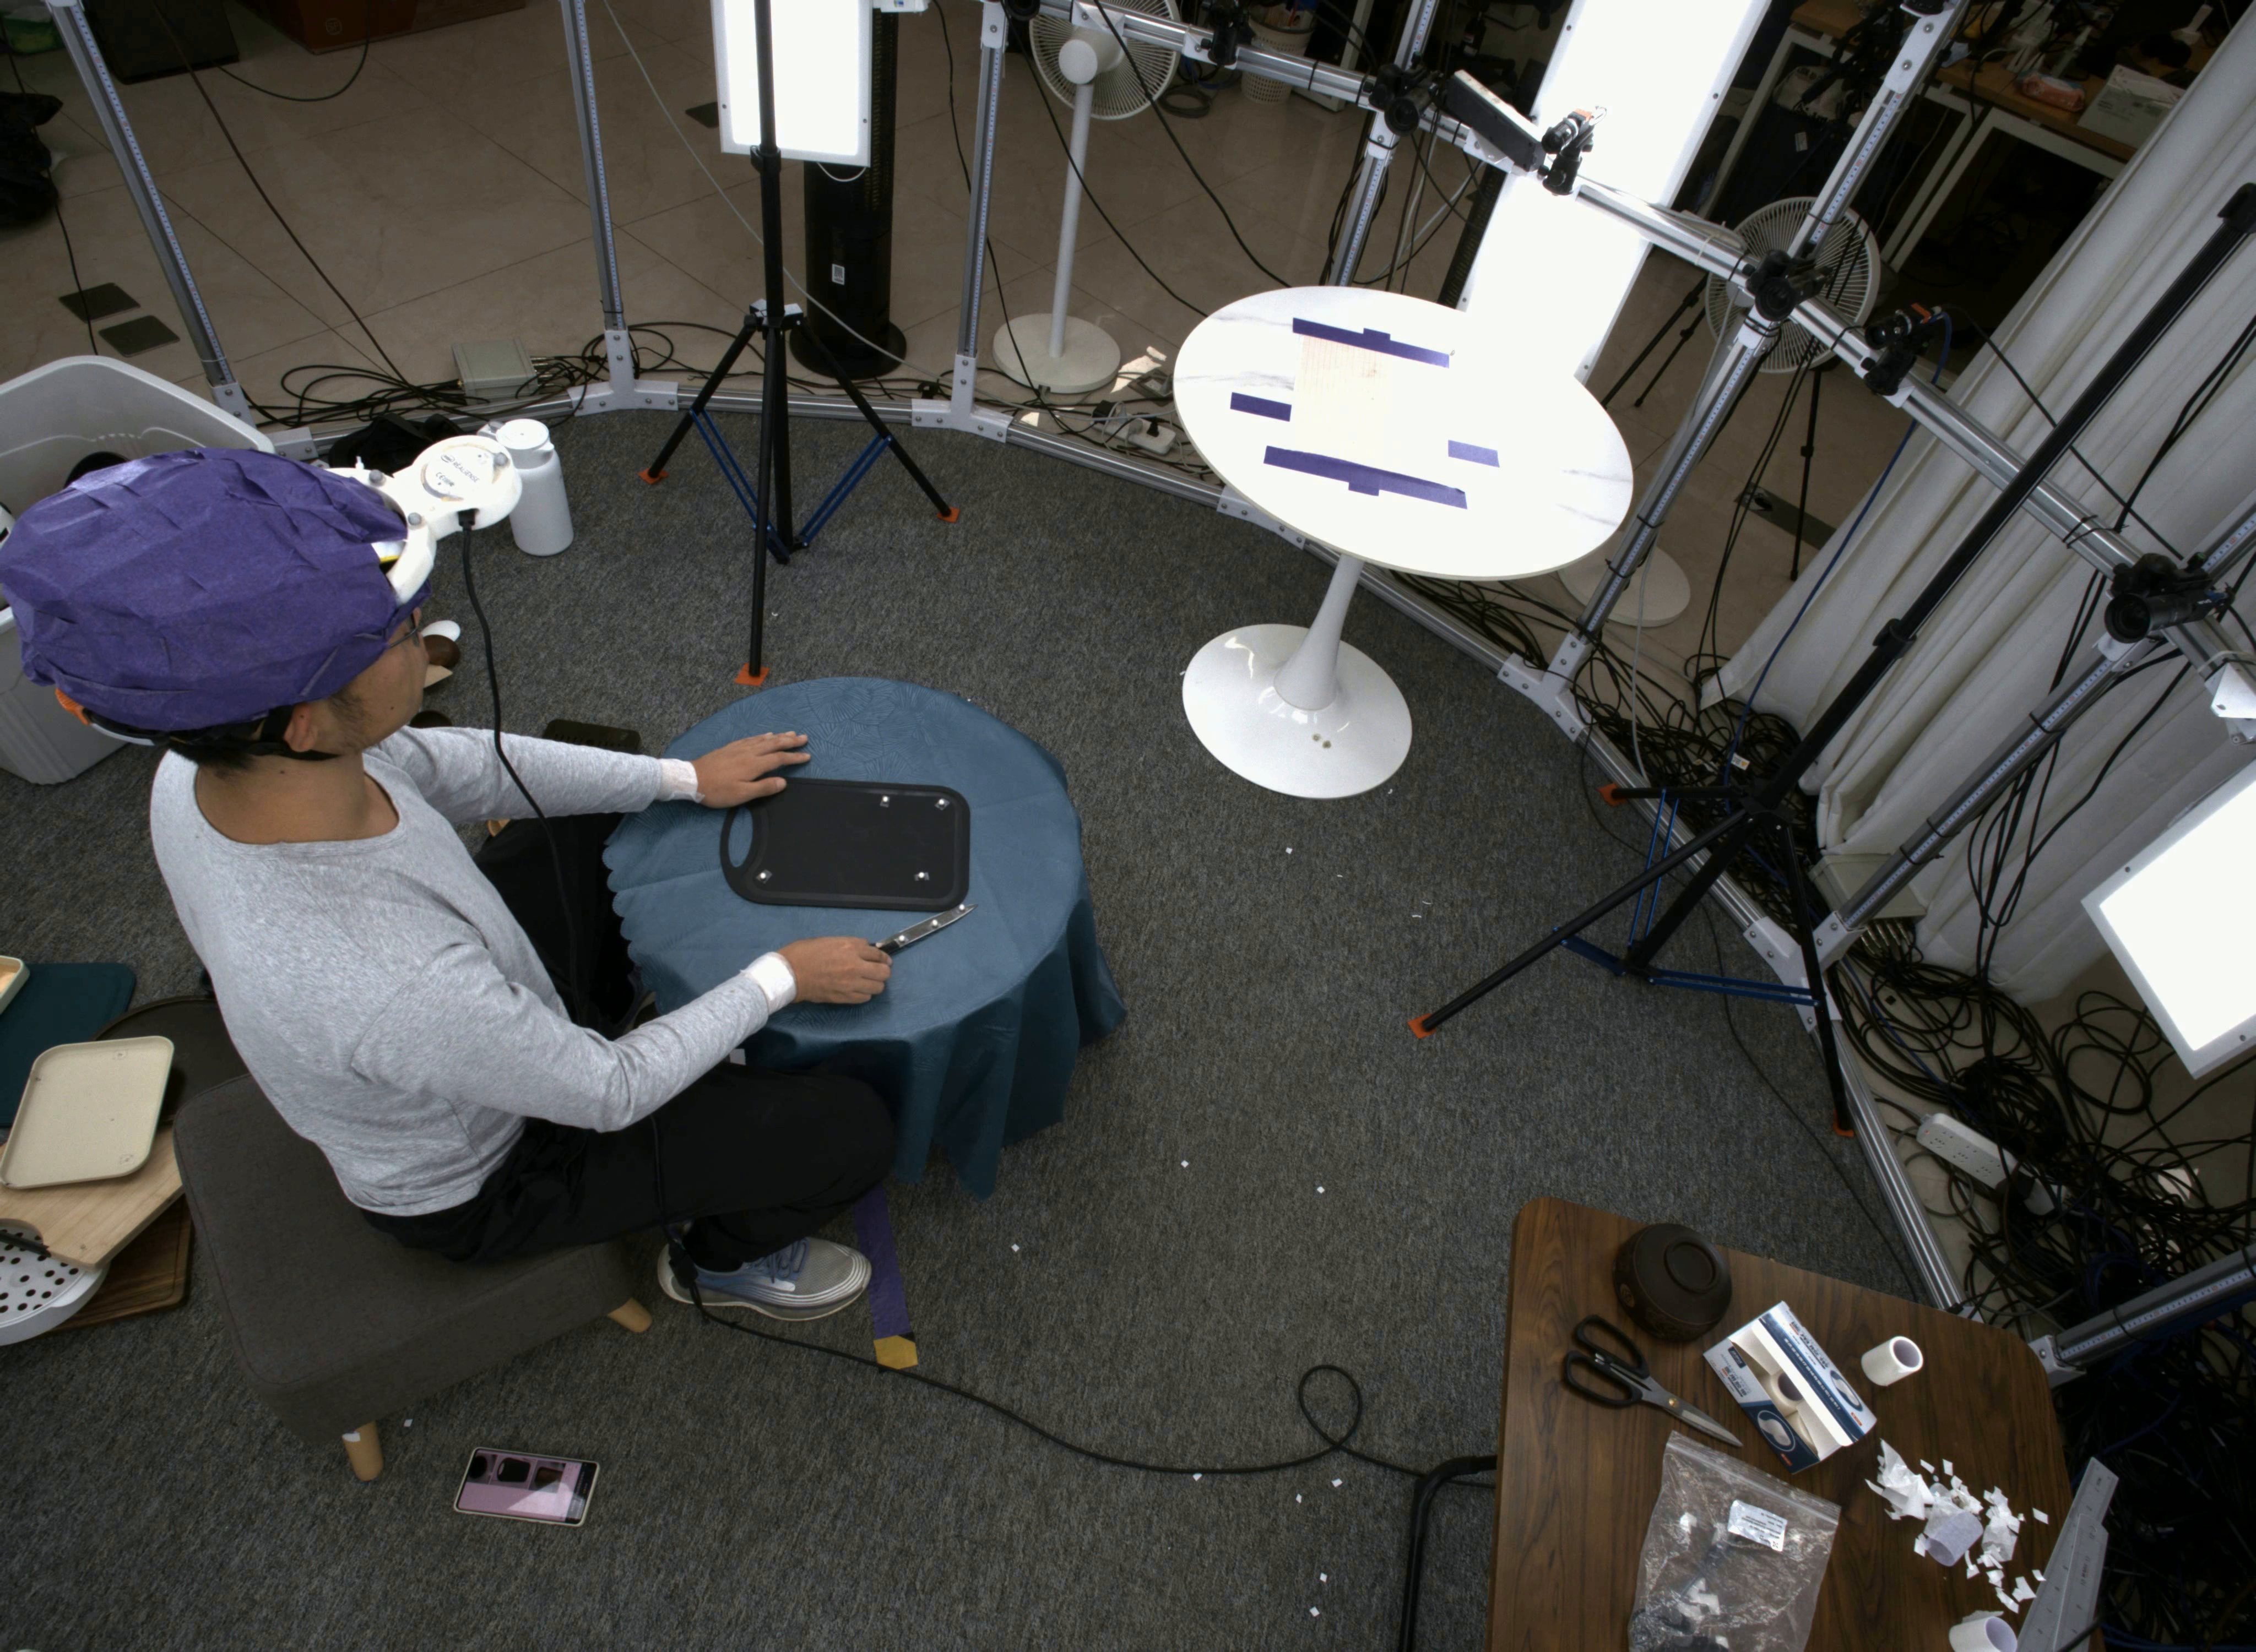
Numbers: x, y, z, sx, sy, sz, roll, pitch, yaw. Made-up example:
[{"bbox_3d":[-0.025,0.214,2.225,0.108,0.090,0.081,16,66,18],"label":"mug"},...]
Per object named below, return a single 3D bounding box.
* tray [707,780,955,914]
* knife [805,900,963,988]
[{"bbox_3d":[-0.392,0.023,1.723,0.325,0.010,0.207,3,54,-12],"label":"tray"},{"bbox_3d":[-0.303,0.145,1.651,0.239,0.017,0.024,-28,59,-33],"label":"knife"}]
